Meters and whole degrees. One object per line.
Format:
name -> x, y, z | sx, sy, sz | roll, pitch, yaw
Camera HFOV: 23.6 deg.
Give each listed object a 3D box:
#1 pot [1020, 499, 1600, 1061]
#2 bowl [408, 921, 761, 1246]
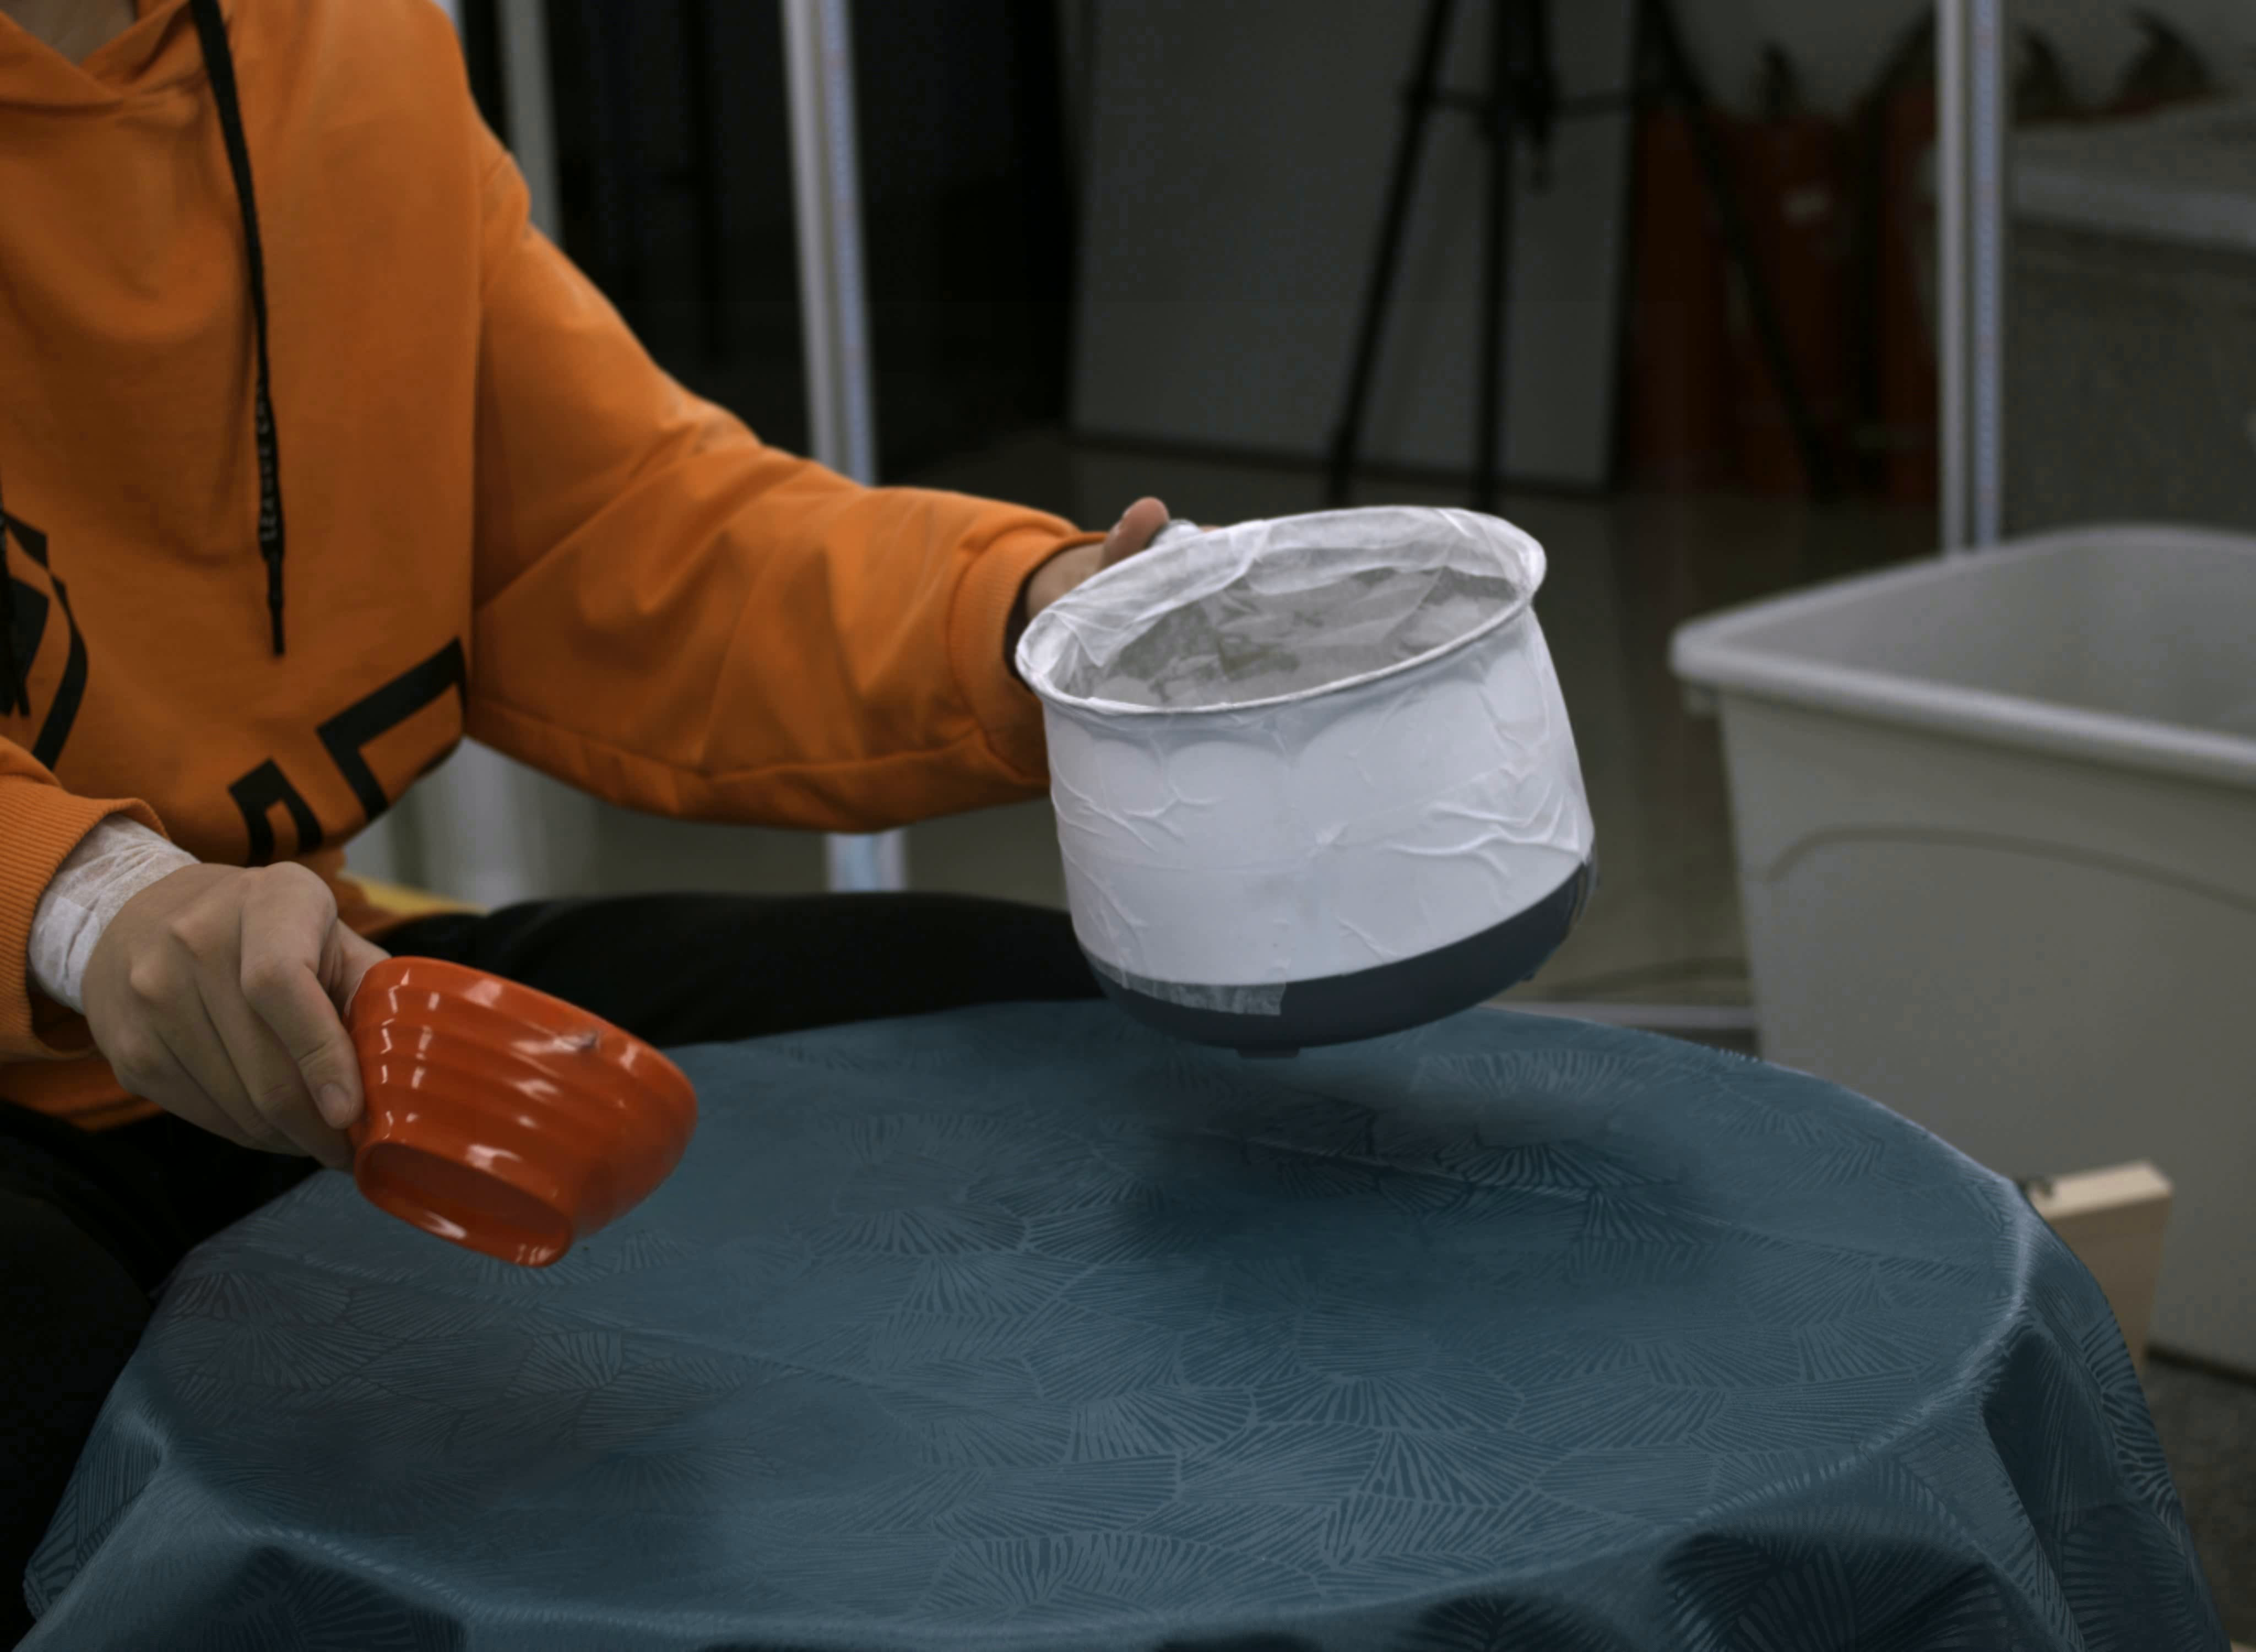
pot -> 0.052, -0.023, 1.795 | 0.175, 0.137, 0.236 | -17, 21, -15
bowl -> -0.167, 0.081, 1.575 | 0.118, 0.051, 0.119 | 30, -13, 7
